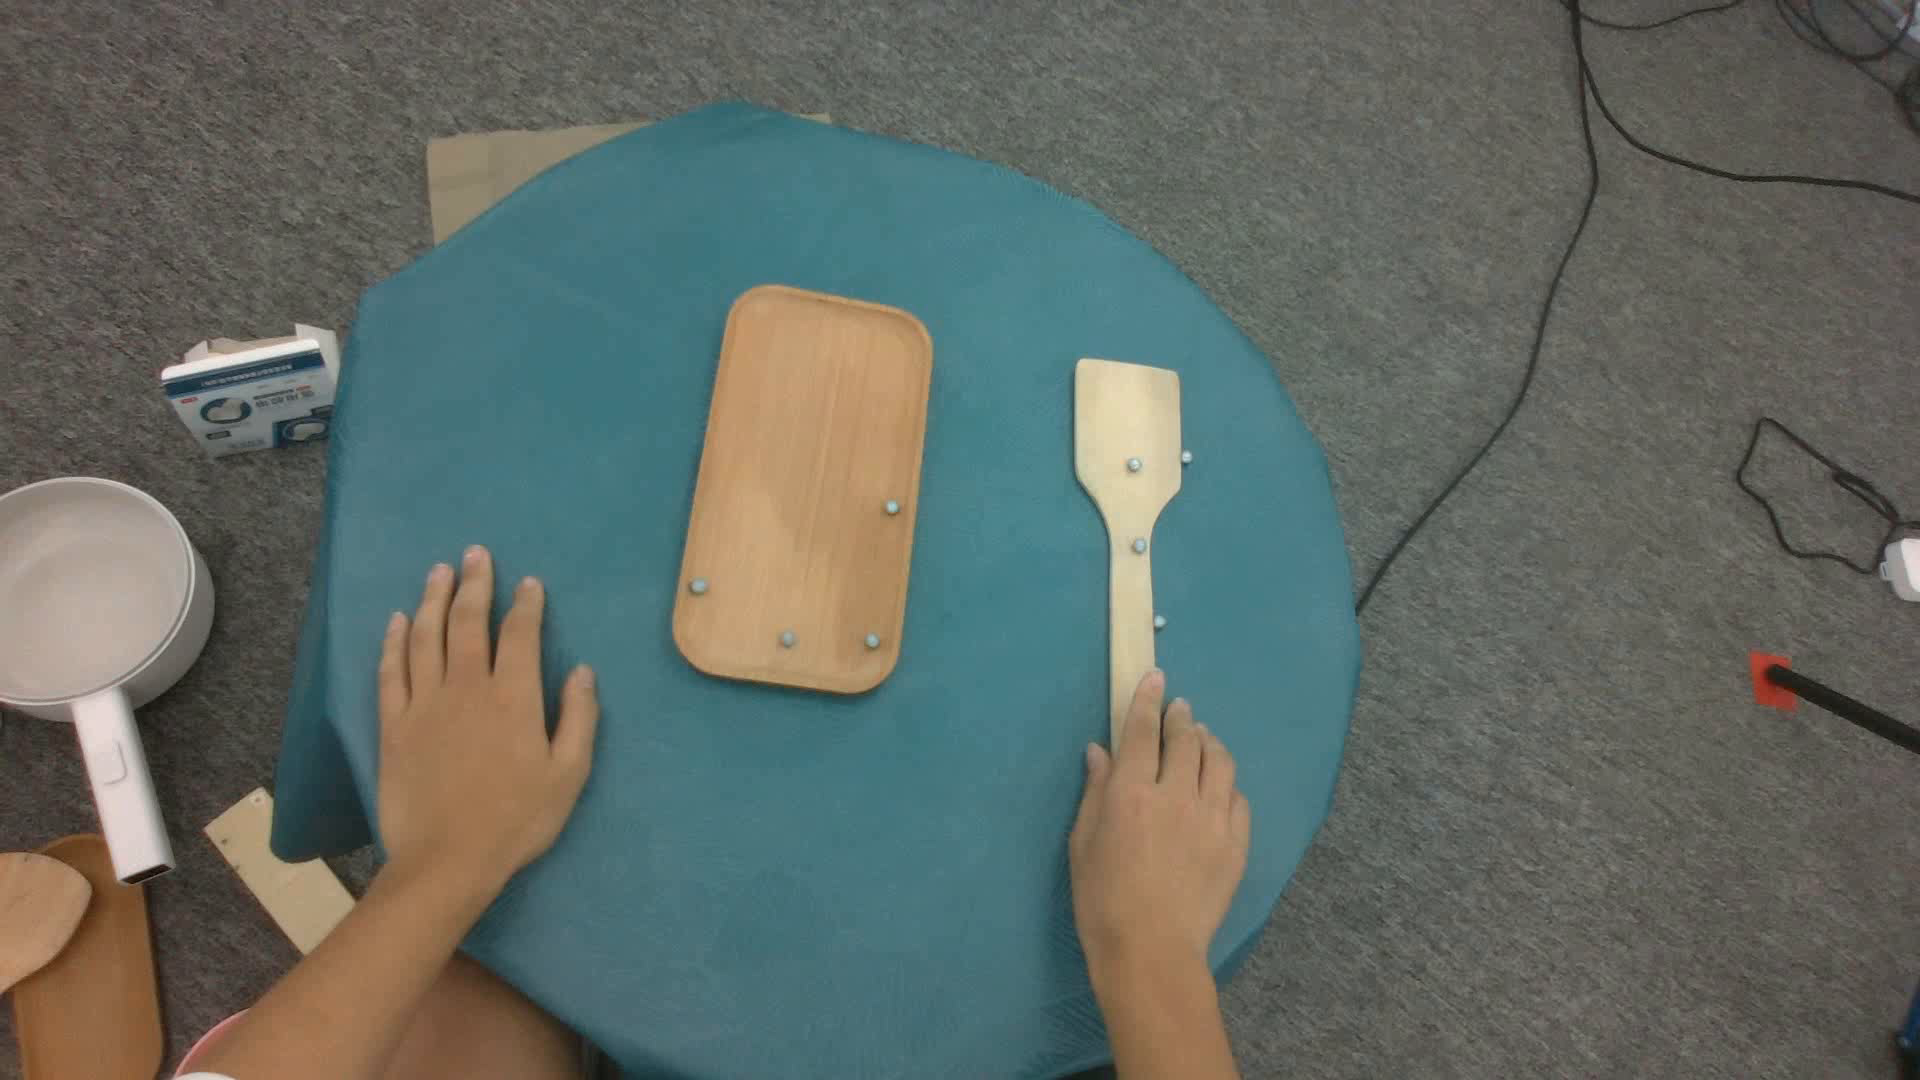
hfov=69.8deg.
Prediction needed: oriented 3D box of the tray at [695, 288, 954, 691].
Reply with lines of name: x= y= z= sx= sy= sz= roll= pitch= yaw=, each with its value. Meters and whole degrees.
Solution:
tray: x=-0.077 y=-0.035 z=0.823 sx=0.130 sy=0.023 sz=0.251 roll=11 pitch=66 yaw=-9

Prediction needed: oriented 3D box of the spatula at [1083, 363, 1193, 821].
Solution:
spatula: x=0.115 y=0.024 z=0.840 sx=0.072 sy=0.010 sz=0.294 roll=4 pitch=67 yaw=-10
